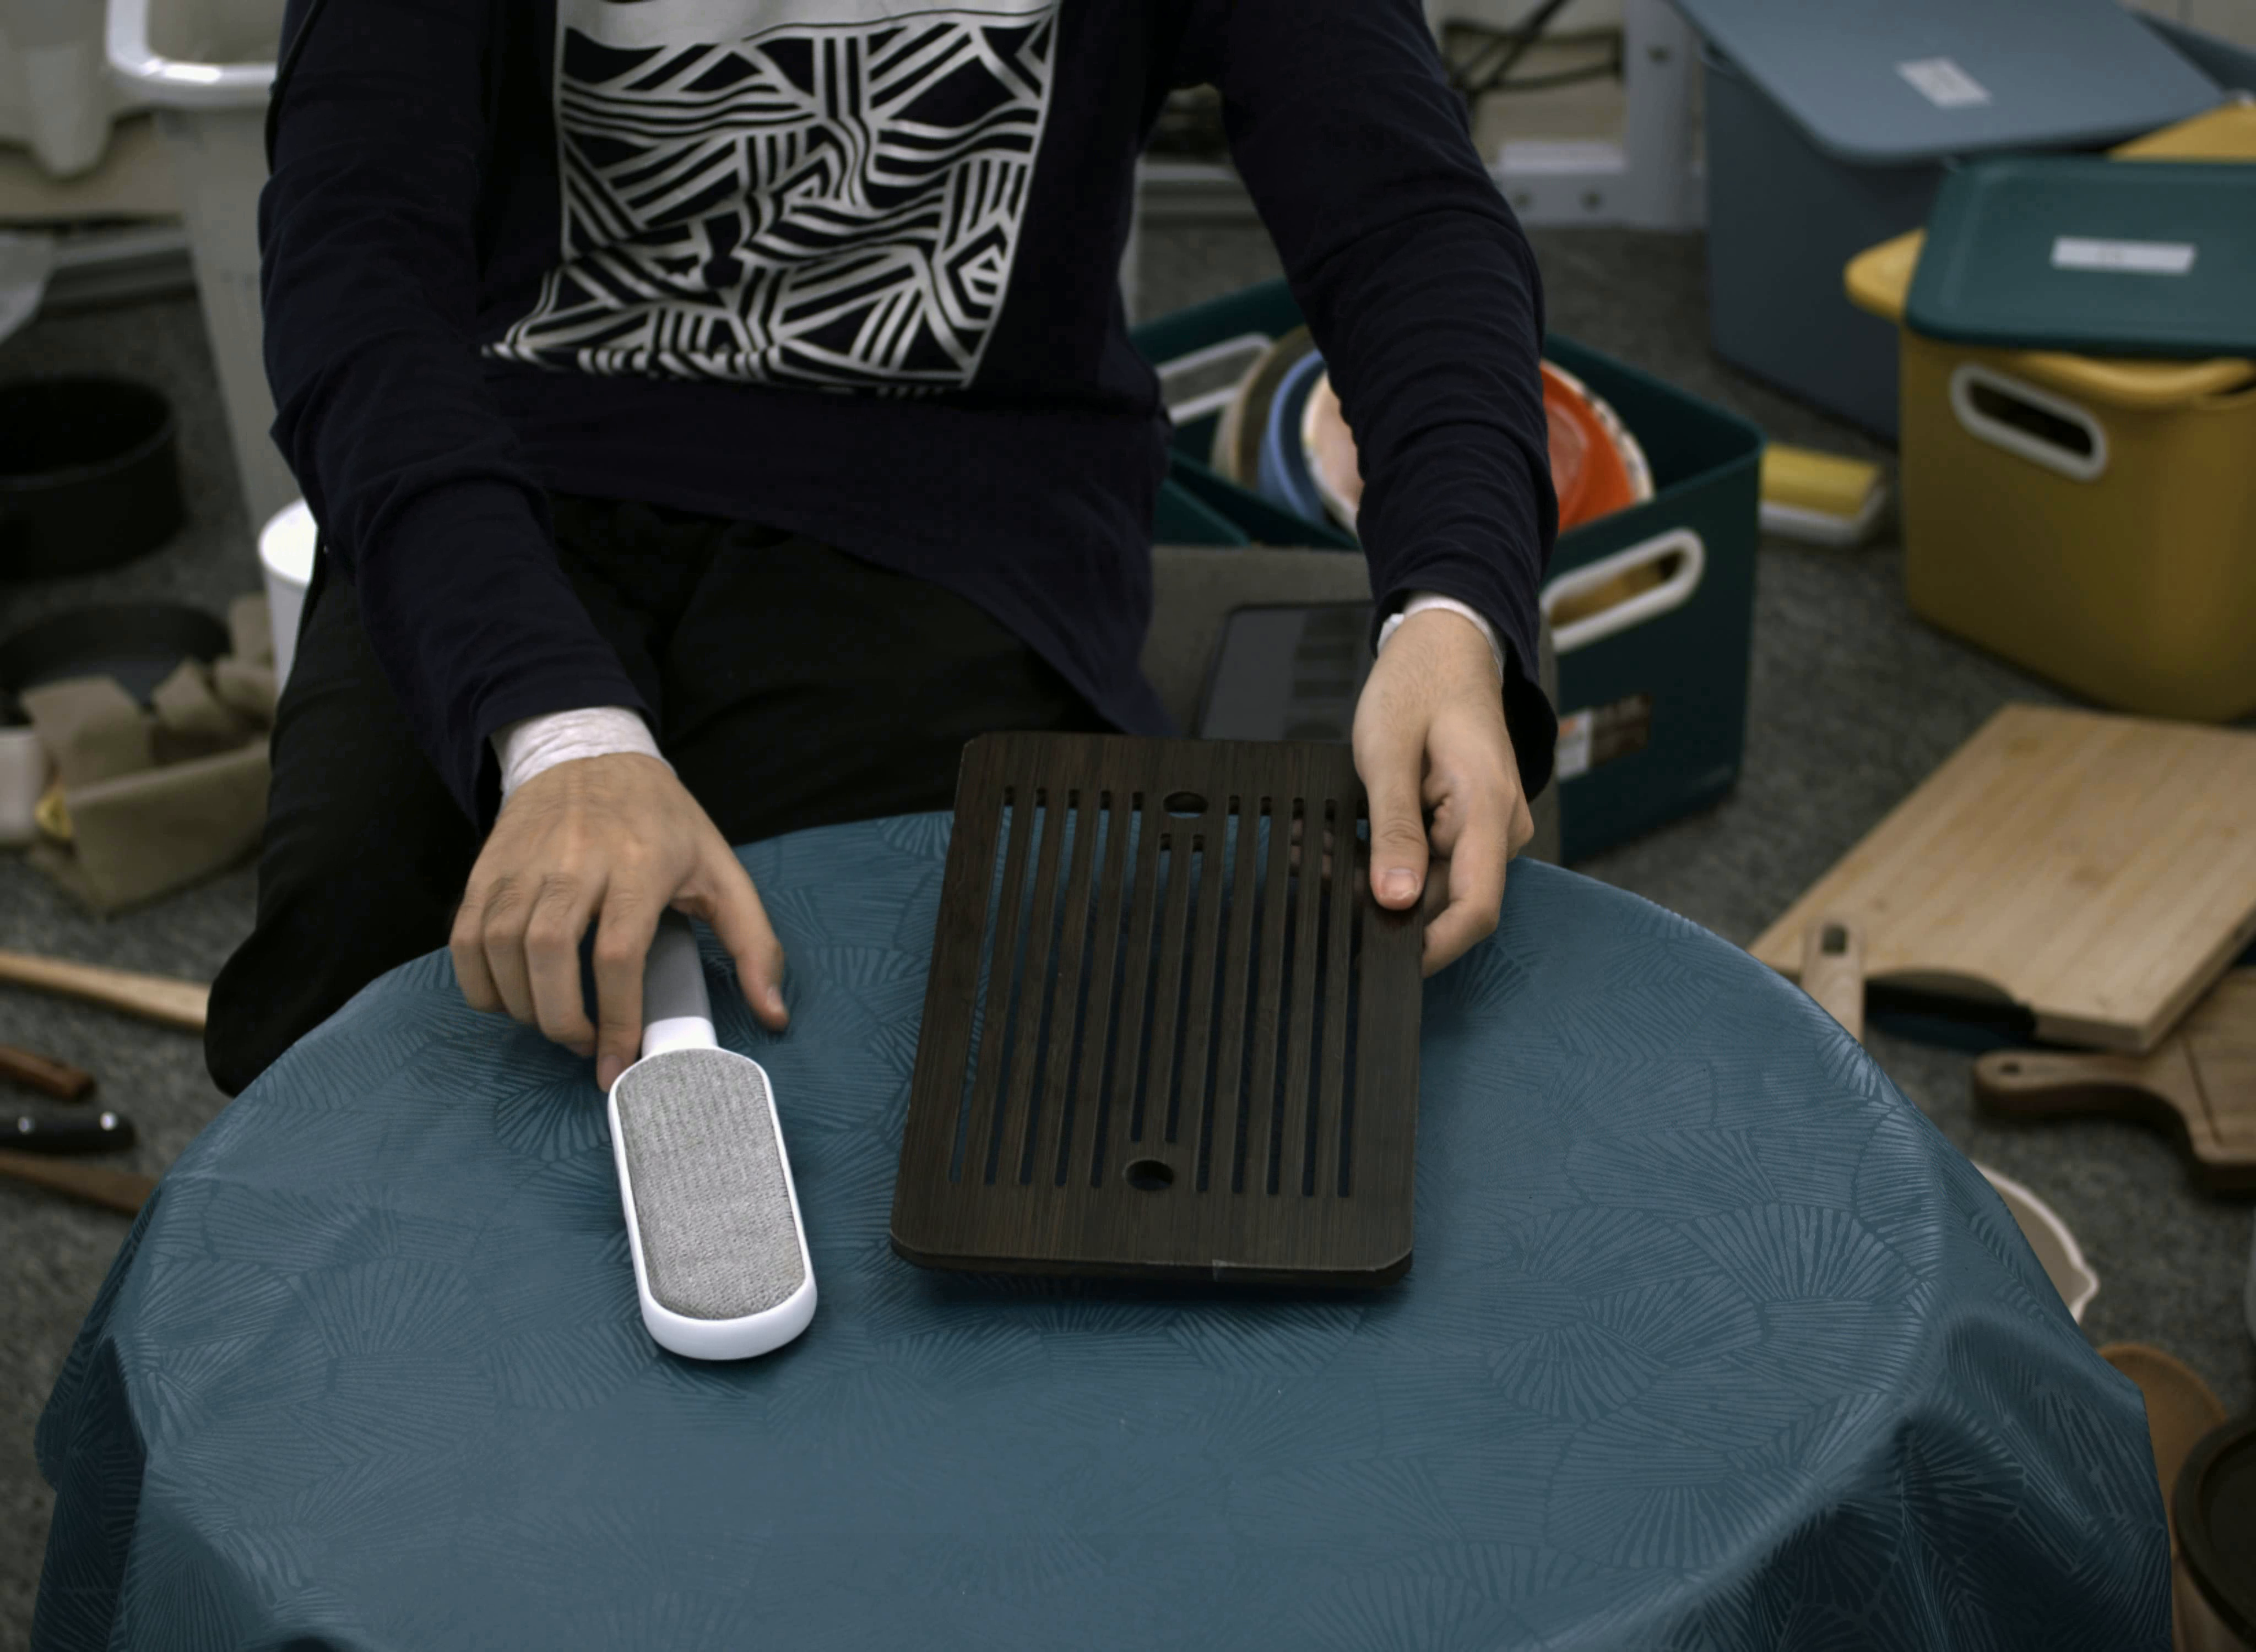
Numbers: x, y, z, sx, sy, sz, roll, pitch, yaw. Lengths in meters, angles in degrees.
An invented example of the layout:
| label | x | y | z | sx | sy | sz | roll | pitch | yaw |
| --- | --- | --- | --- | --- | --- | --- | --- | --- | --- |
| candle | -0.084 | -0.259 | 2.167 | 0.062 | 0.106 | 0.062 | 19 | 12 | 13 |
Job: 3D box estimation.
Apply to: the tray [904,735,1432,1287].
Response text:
| label | x | y | z | sx | sy | sz | roll | pitch | yaw |
| --- | --- | --- | --- | --- | --- | --- | --- | --- | --- |
| tray | 0.019 | 0.060 | 1.920 | 0.169 | 0.018 | 0.311 | 1 | 33 | 2 |

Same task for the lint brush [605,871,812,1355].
| label | x | y | z | sx | sy | sz | roll | pitch | yaw |
| --- | --- | --- | --- | --- | --- | --- | --- | --- | --- |
| lint brush | -0.147 | 0.092 | 1.904 | 0.060 | 0.021 | 0.313 | -11 | 28 | -5 |
